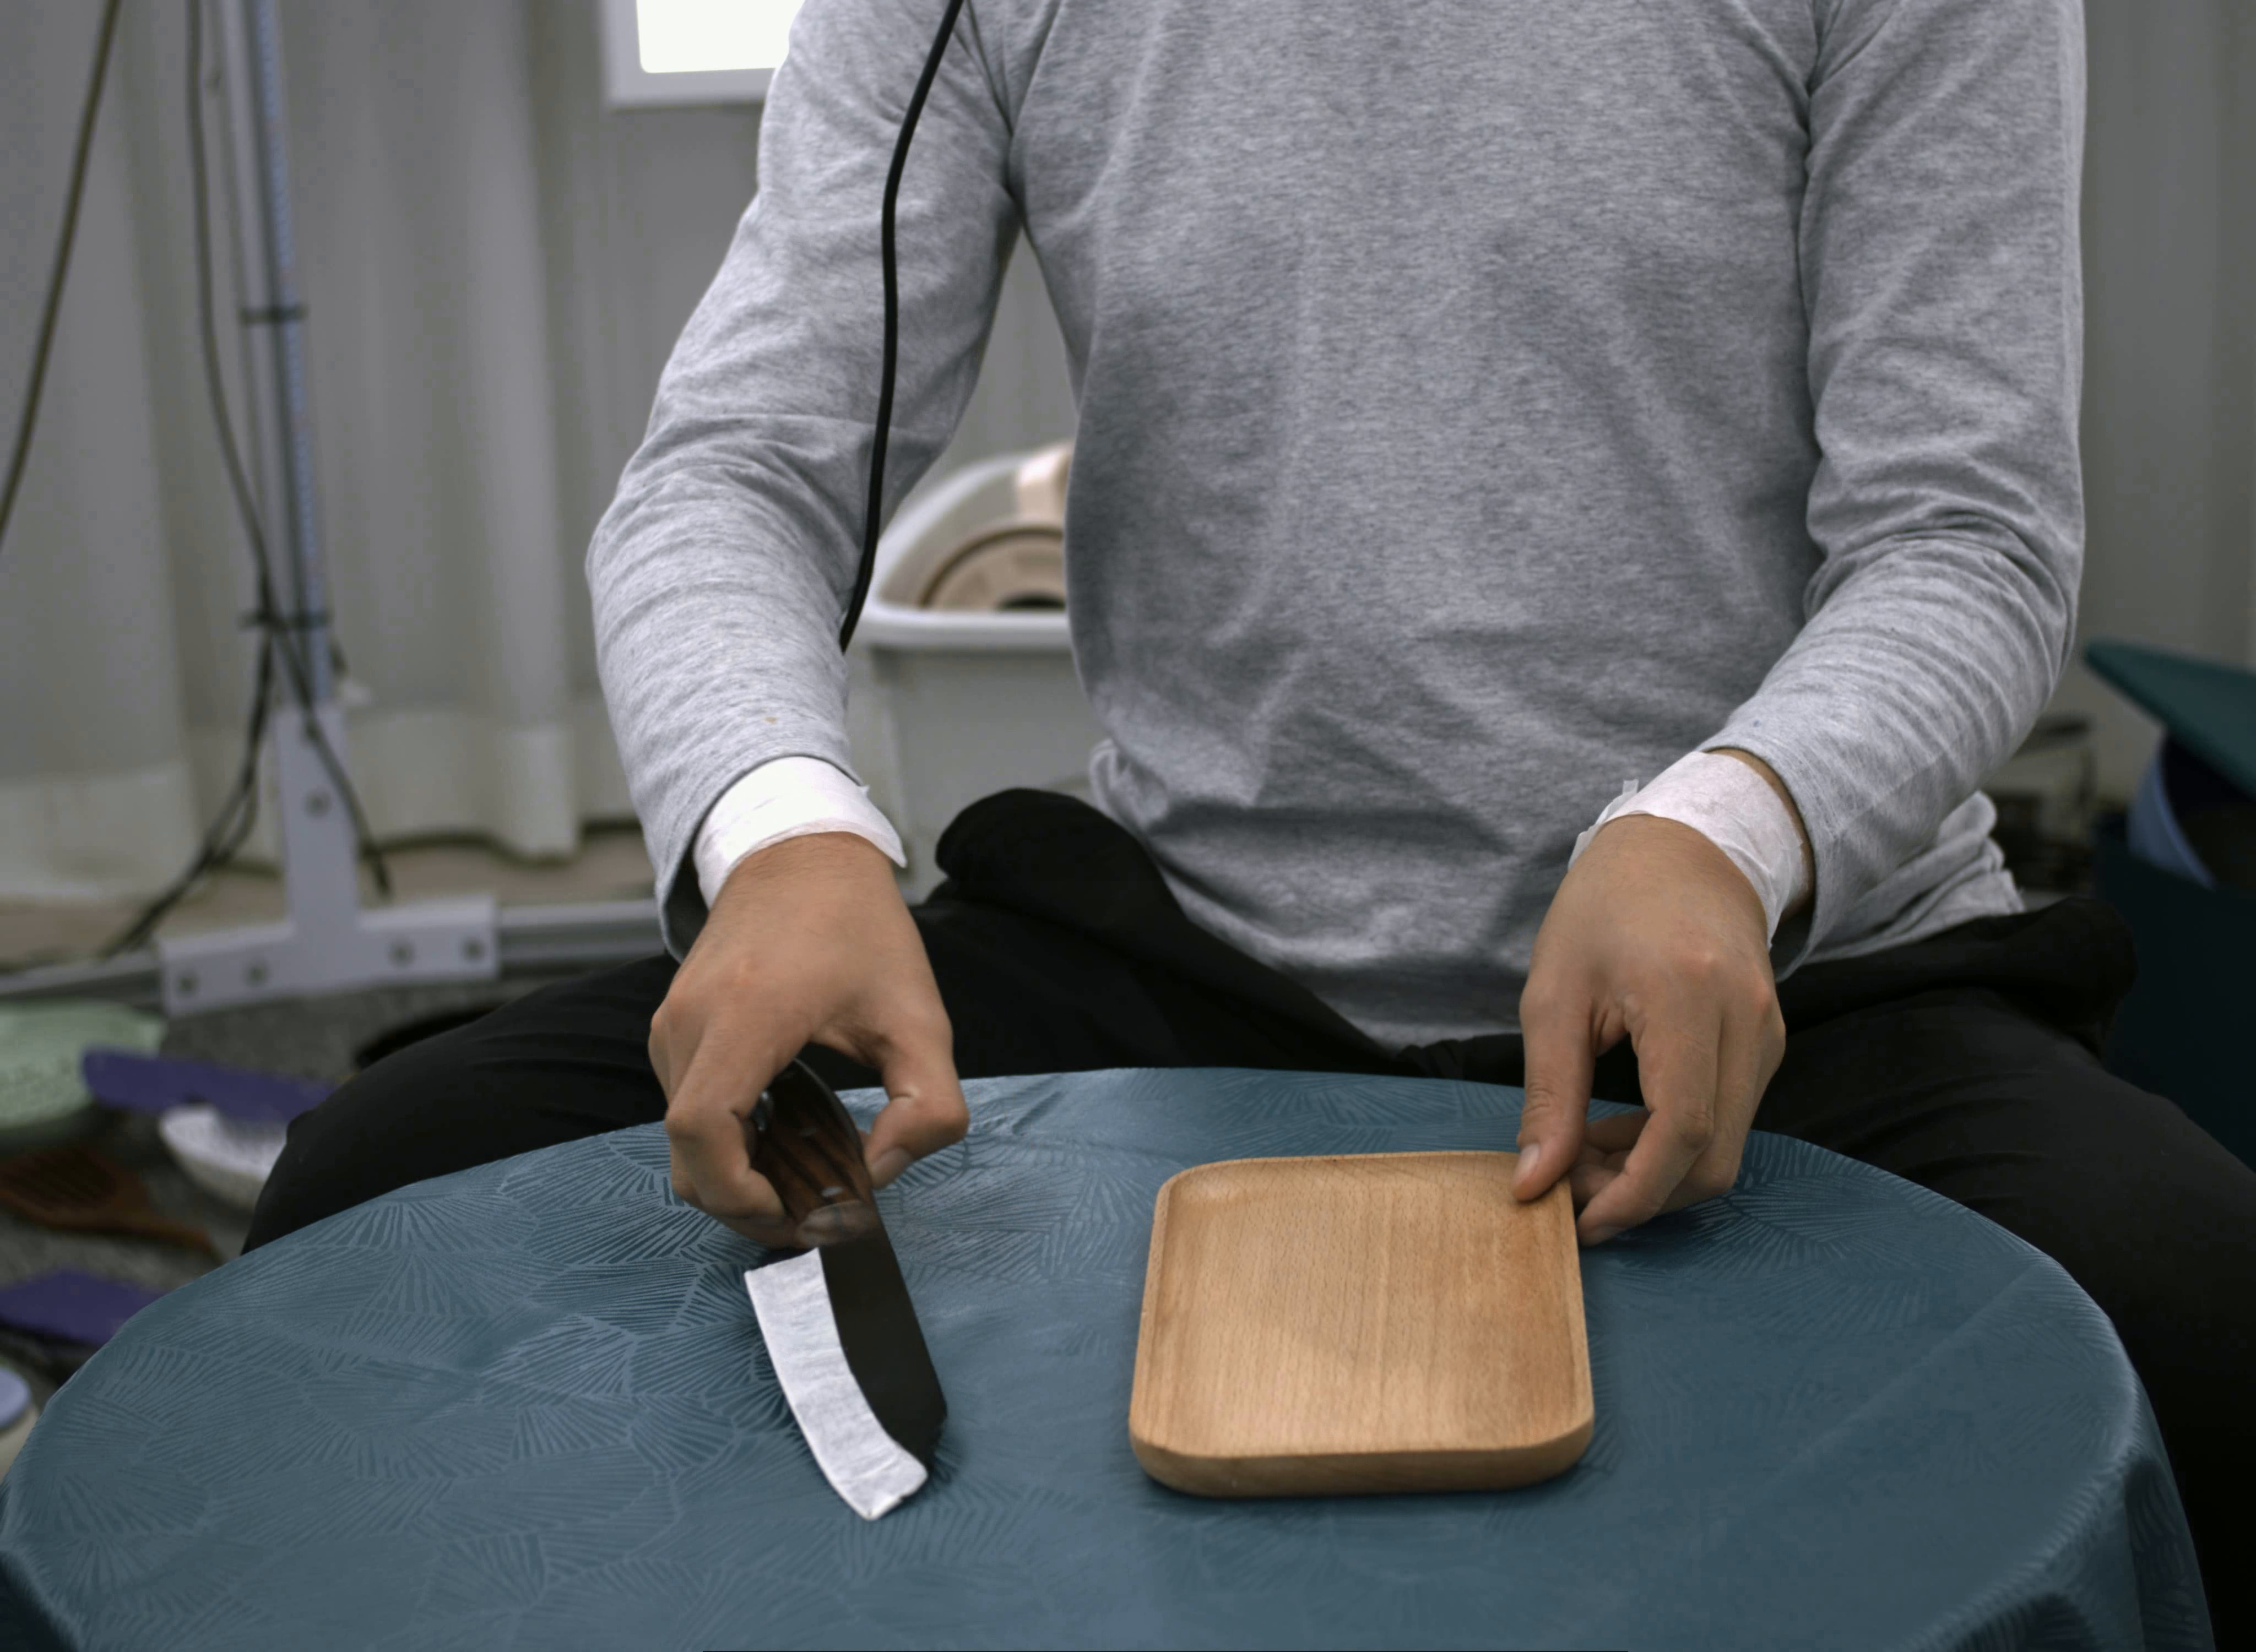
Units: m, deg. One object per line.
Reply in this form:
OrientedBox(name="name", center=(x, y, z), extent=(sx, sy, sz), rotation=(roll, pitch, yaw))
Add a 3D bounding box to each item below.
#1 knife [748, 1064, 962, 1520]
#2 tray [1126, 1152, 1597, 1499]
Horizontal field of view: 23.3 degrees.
OrientedBox(name="knife", center=(-0.085, 0.134, 1.594), extent=(0.050, 0.020, 0.292), rotation=(-15, 22, -3))
OrientedBox(name="tray", center=(0.068, 0.141, 1.575), extent=(0.130, 0.023, 0.252), rotation=(0, 14, 4))
